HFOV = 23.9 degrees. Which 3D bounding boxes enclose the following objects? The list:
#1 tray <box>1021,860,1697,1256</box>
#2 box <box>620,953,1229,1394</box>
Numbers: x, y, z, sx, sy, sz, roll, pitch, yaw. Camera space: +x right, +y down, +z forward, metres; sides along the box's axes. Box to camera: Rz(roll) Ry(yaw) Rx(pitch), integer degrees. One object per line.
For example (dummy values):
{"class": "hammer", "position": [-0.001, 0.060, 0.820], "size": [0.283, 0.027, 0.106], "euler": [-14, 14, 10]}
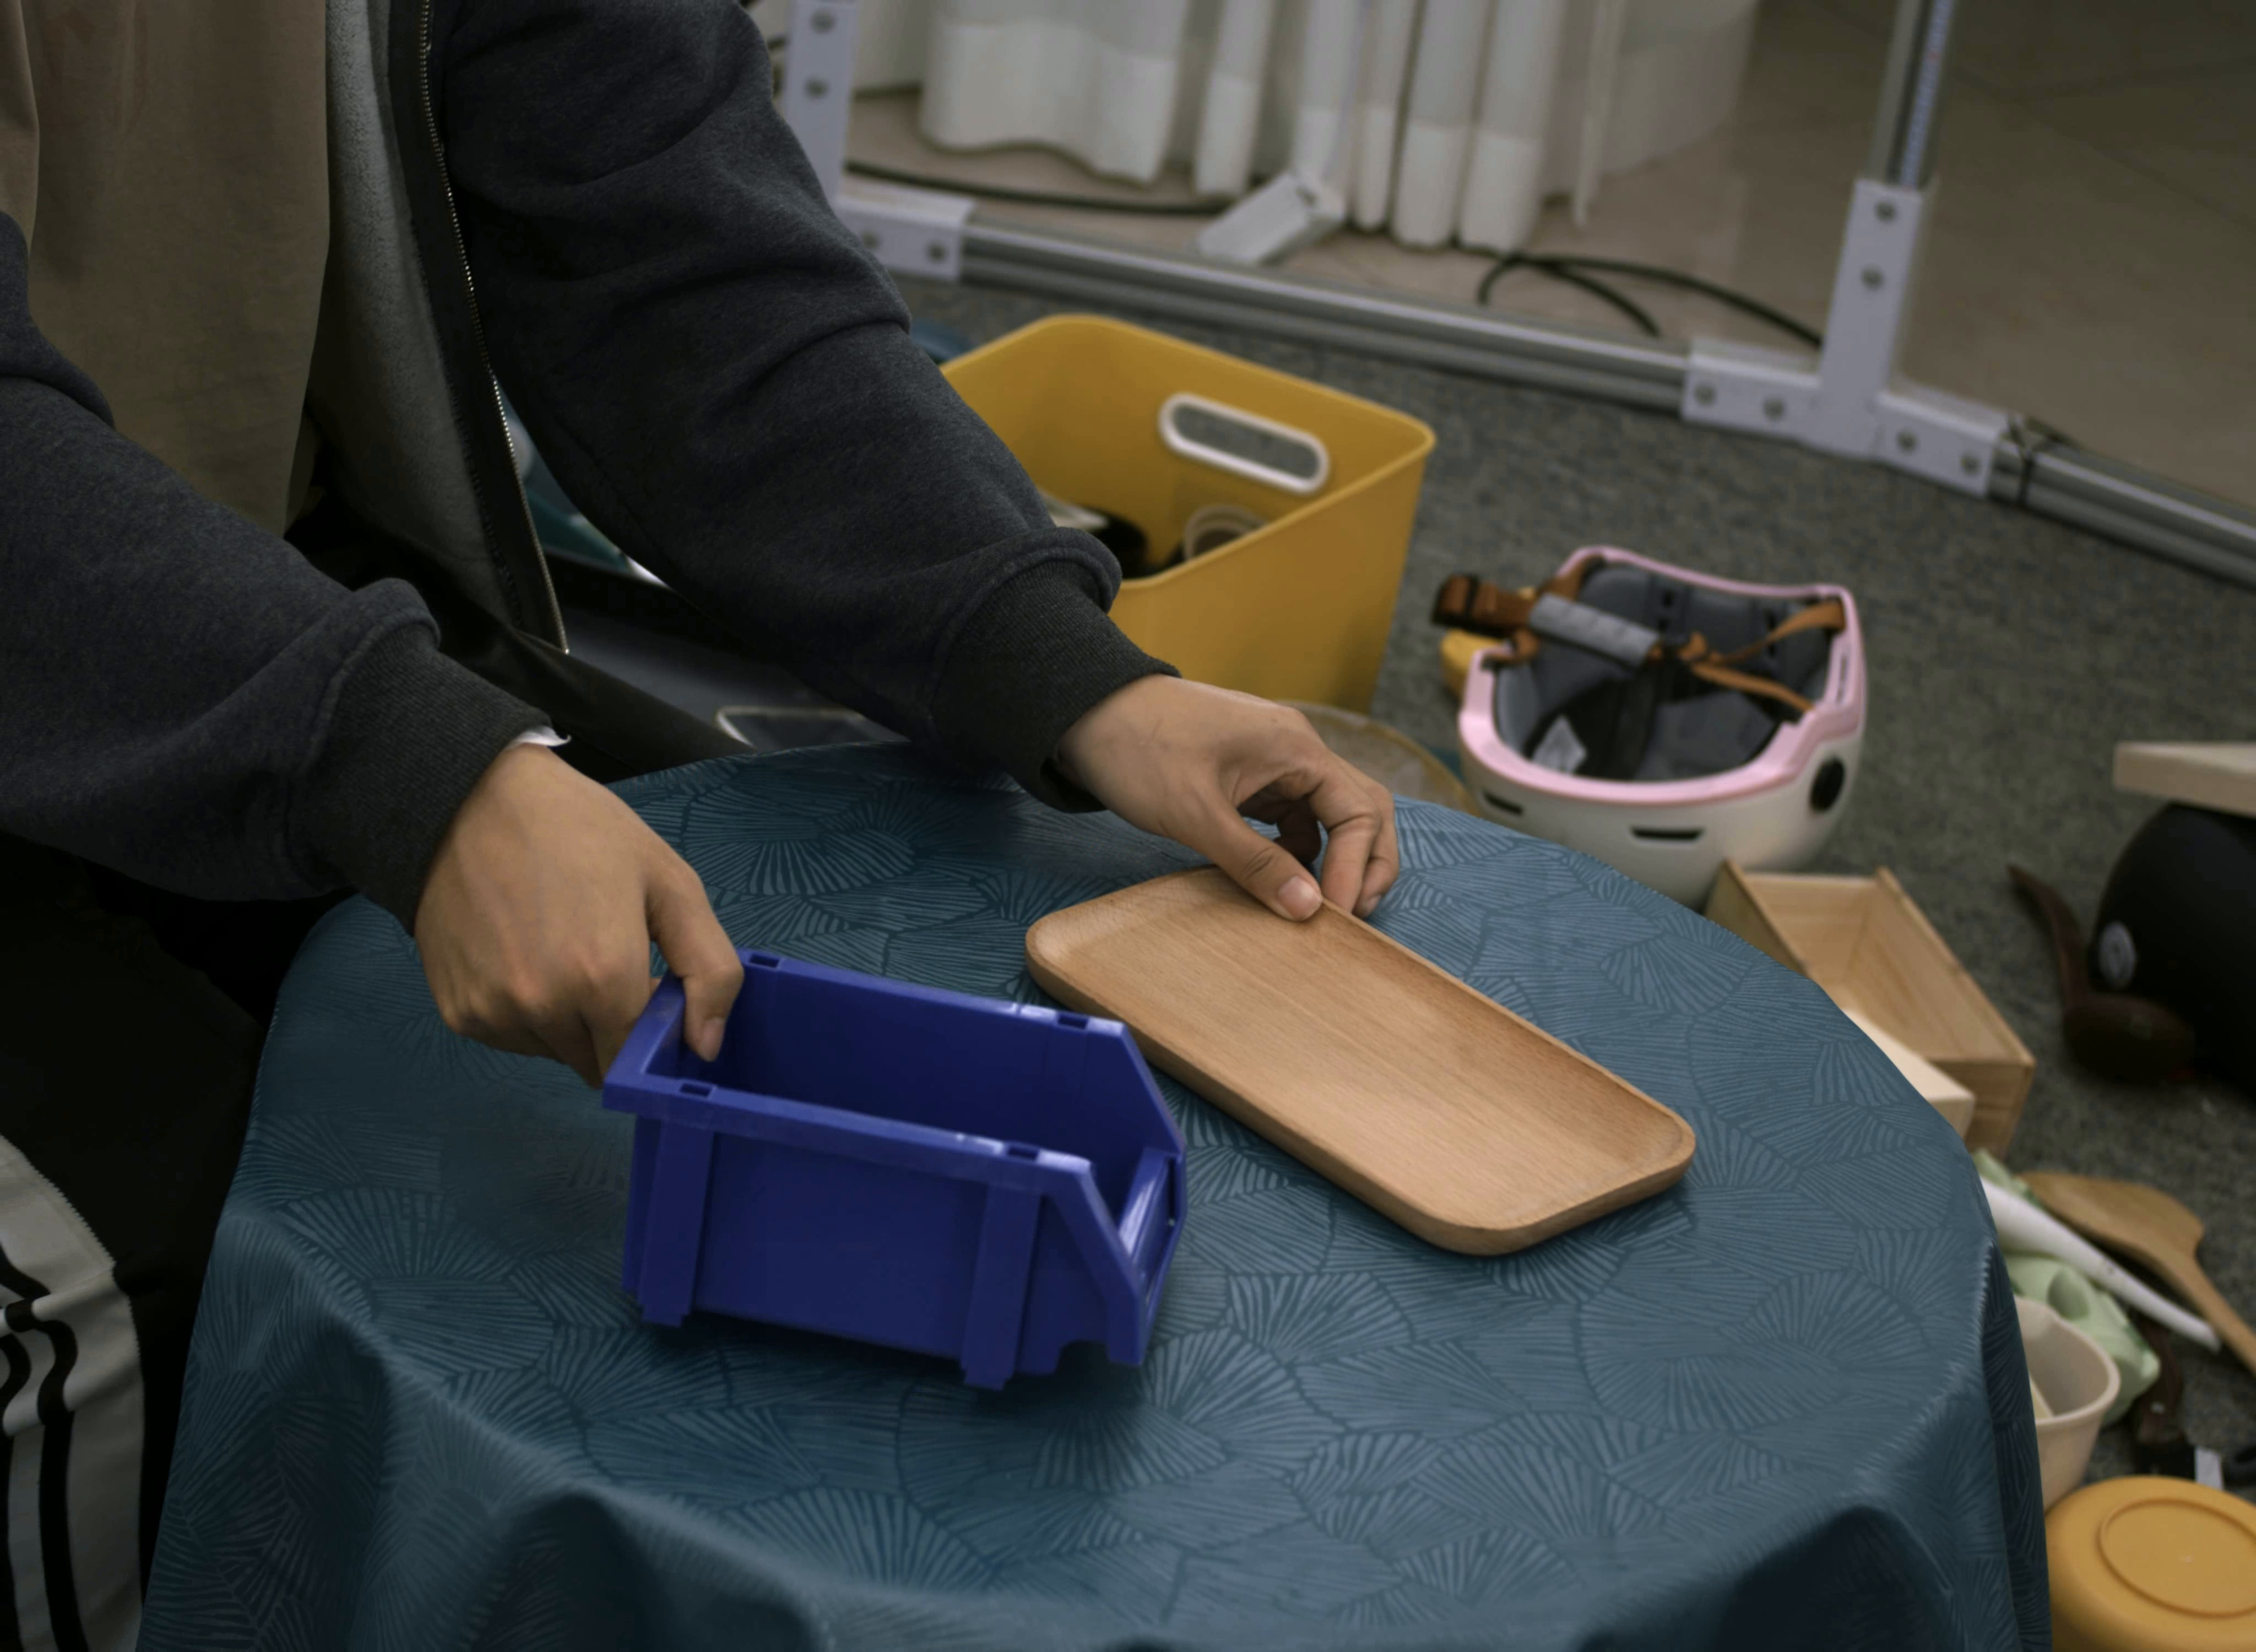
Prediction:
{"class": "tray", "position": [0.079, 0.080, 1.886], "size": [0.130, 0.023, 0.253], "euler": [-14, 33, -39]}
{"class": "box", "position": [-0.062, 0.112, 1.706], "size": [0.179, 0.082, 0.125], "euler": [9, 21, 9]}
